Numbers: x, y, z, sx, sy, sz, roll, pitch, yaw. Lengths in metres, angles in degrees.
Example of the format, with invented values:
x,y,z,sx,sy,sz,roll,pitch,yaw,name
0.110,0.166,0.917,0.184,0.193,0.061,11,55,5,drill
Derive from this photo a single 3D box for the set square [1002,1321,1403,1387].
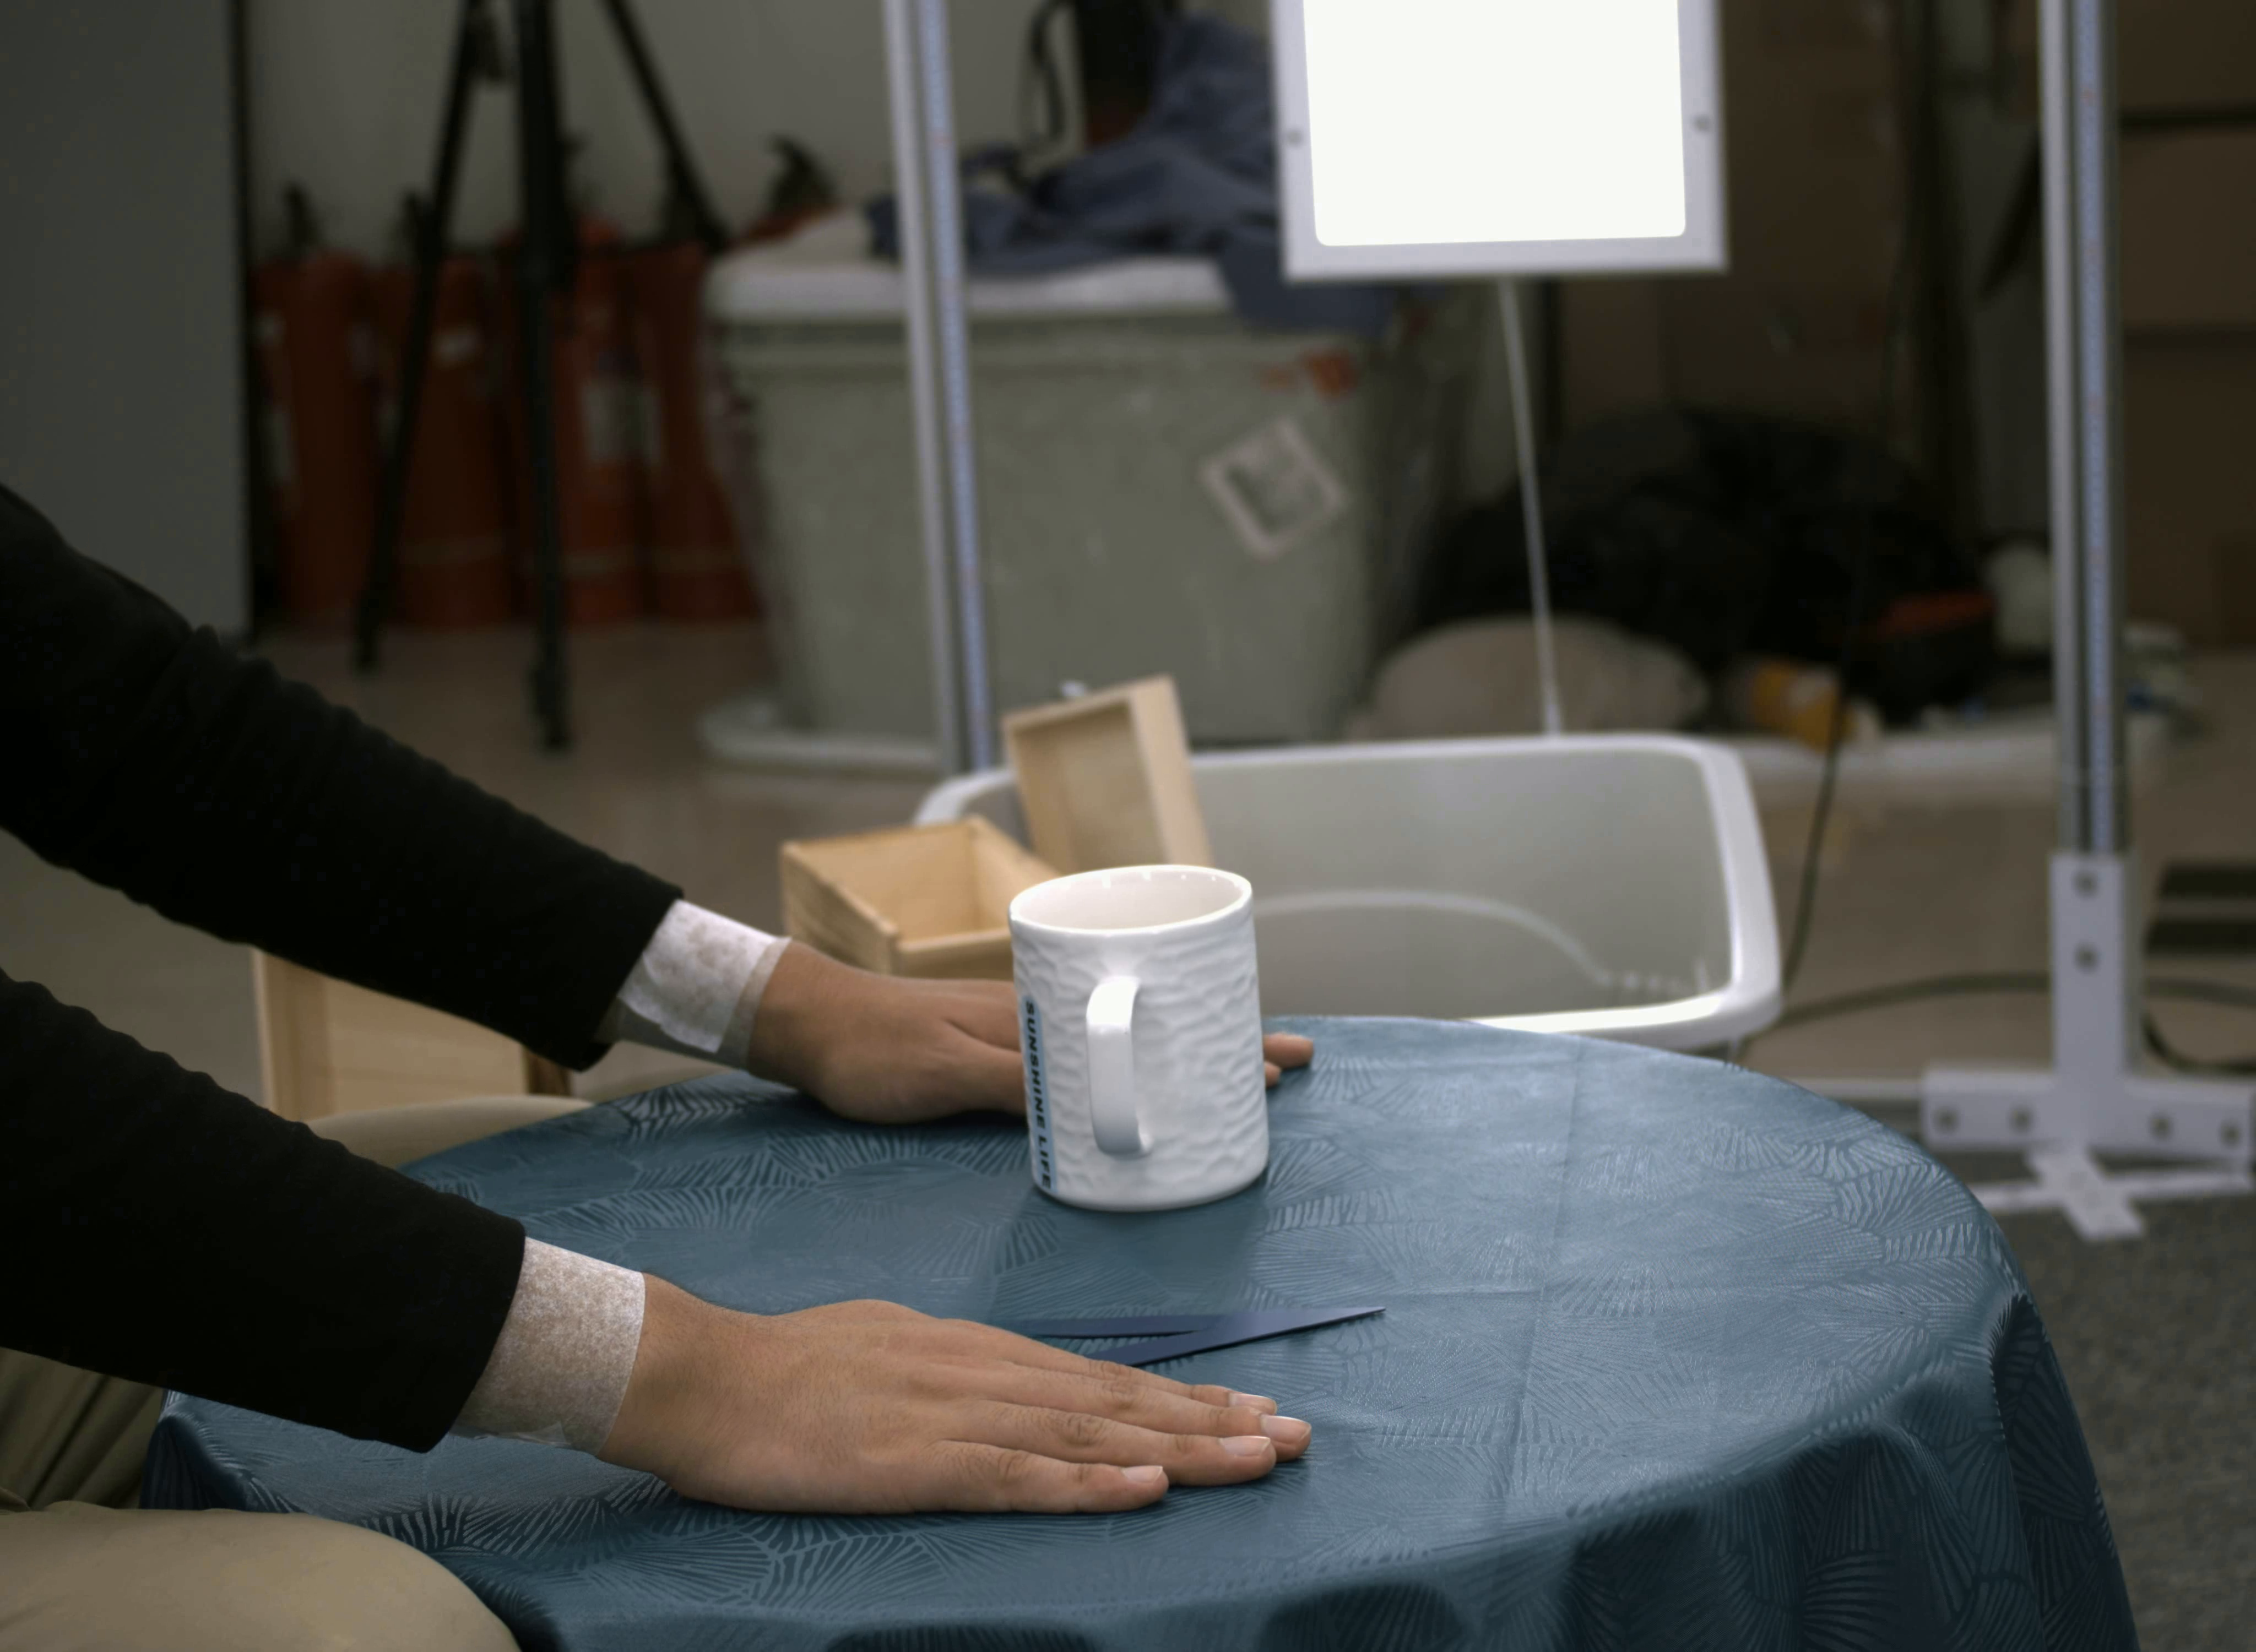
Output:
x,y,z,sx,sy,sz,roll,pitch,yaw,name
0.019,0.165,1.727,0.133,0.006,0.060,-2,13,13,set square

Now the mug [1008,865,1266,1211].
x,y,z,sx,sy,sz,roll,pitch,yaw,name
0.002,0.077,1.884,0.085,0.102,0.117,-2,14,9,mug
